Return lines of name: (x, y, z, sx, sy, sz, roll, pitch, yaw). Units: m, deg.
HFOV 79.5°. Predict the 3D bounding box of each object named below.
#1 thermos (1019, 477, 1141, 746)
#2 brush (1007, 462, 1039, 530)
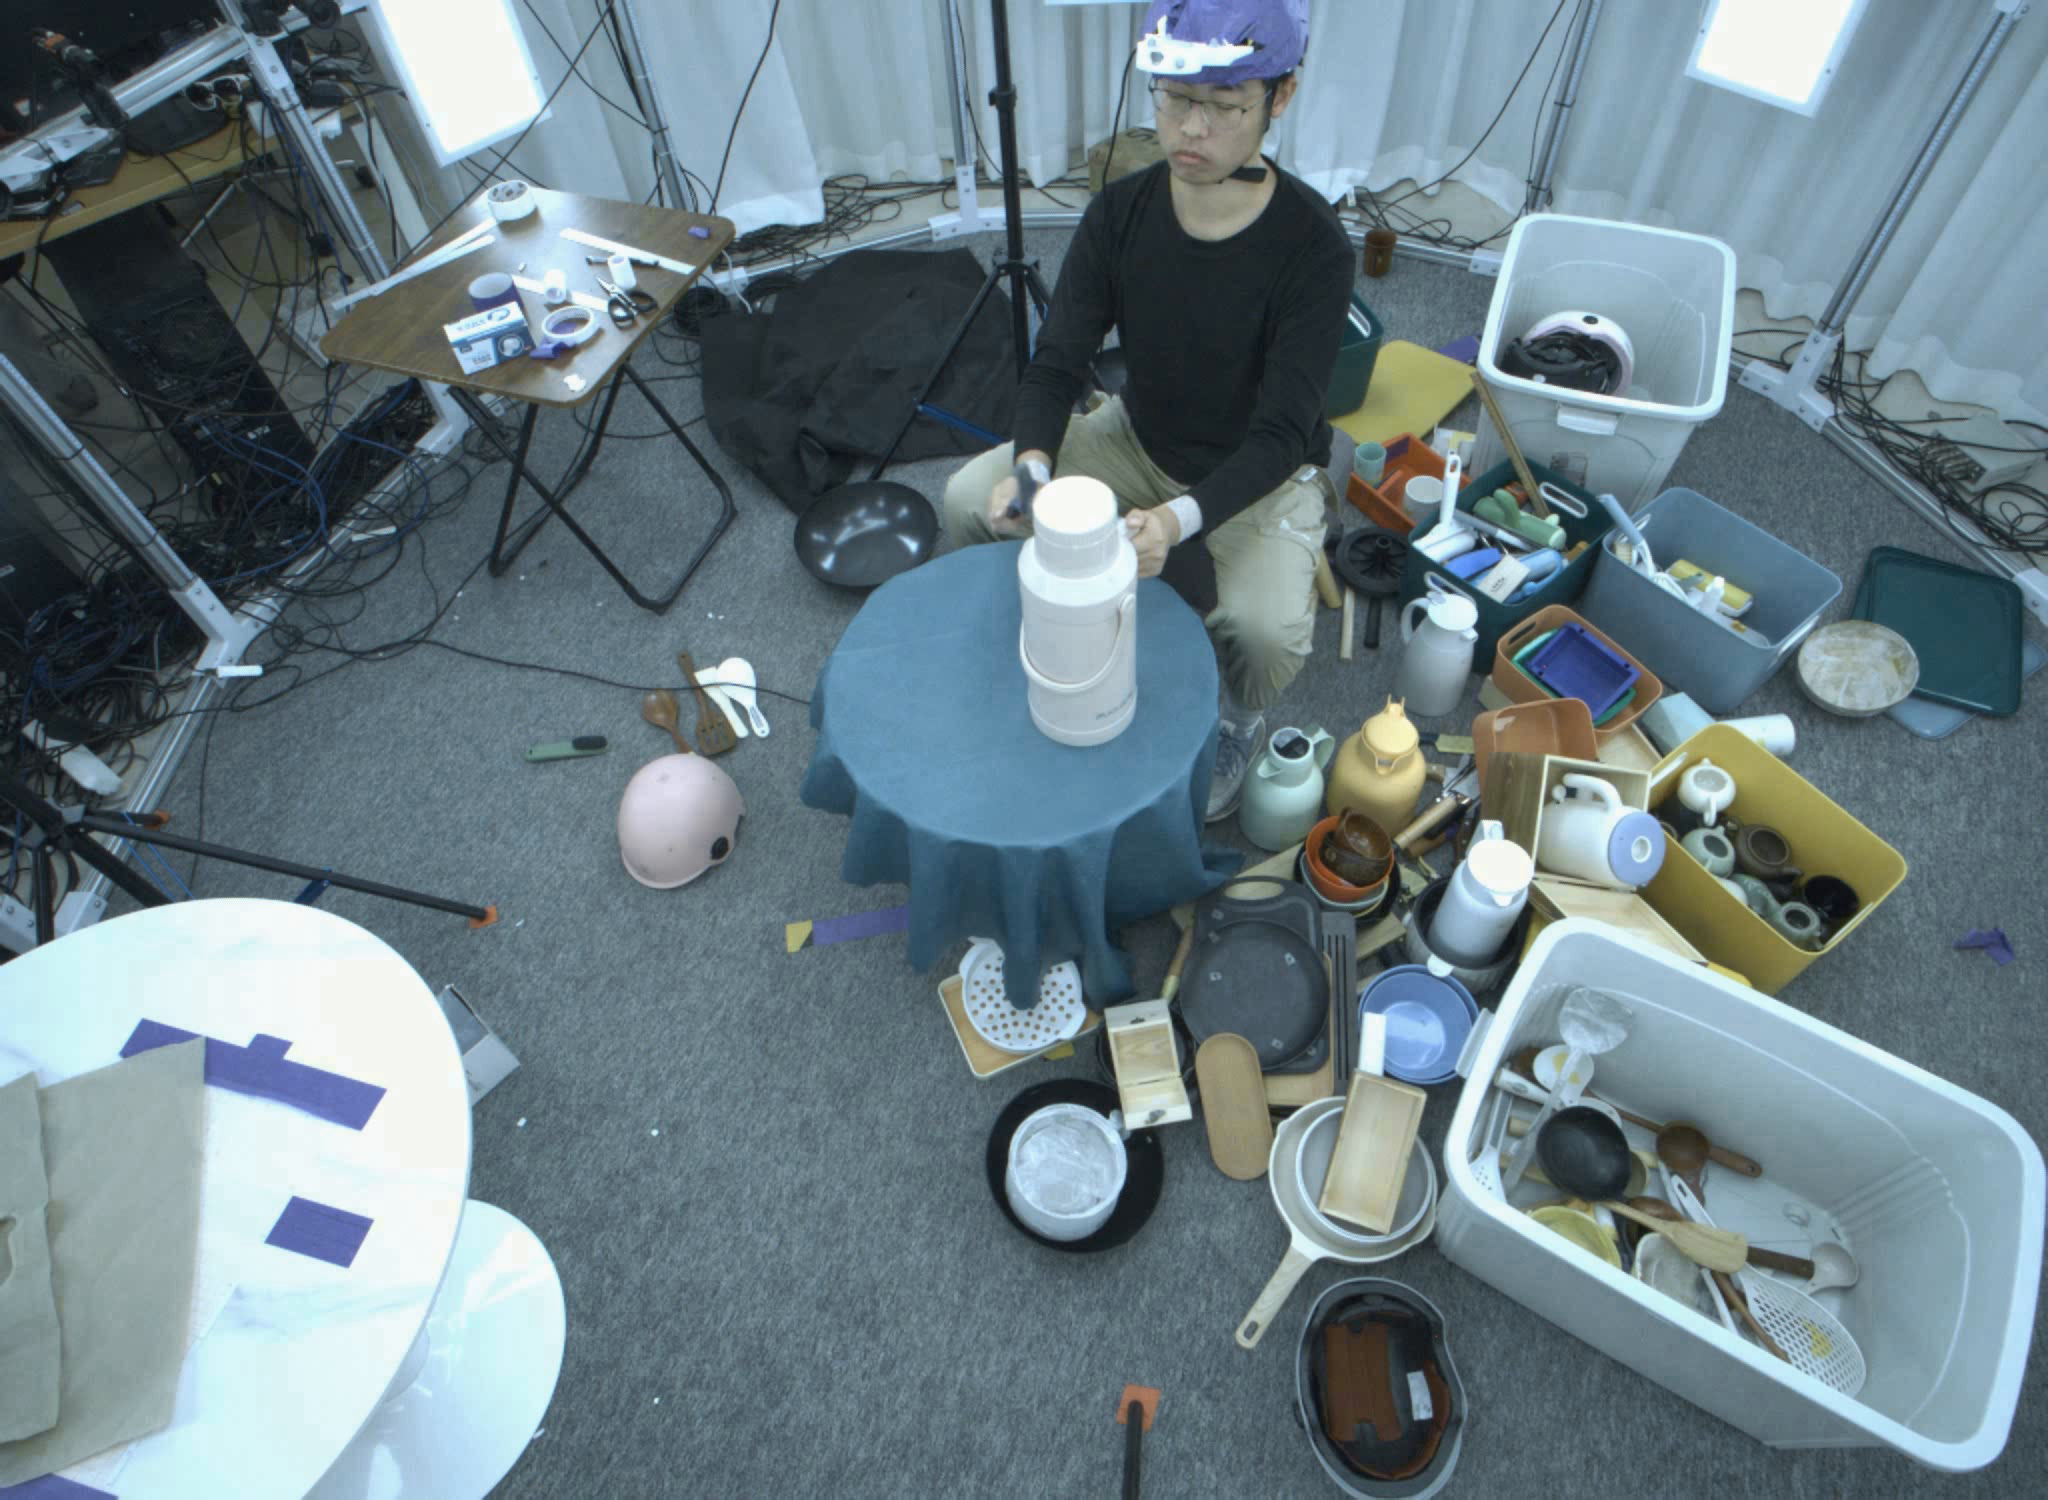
thermos: (0.087, -0.193, 1.677, 0.172, 0.411, 0.208, 32, 63, 25)
brush: (-0.009, -0.358, 1.747, 0.033, 0.270, 0.096, -33, 102, -4)
